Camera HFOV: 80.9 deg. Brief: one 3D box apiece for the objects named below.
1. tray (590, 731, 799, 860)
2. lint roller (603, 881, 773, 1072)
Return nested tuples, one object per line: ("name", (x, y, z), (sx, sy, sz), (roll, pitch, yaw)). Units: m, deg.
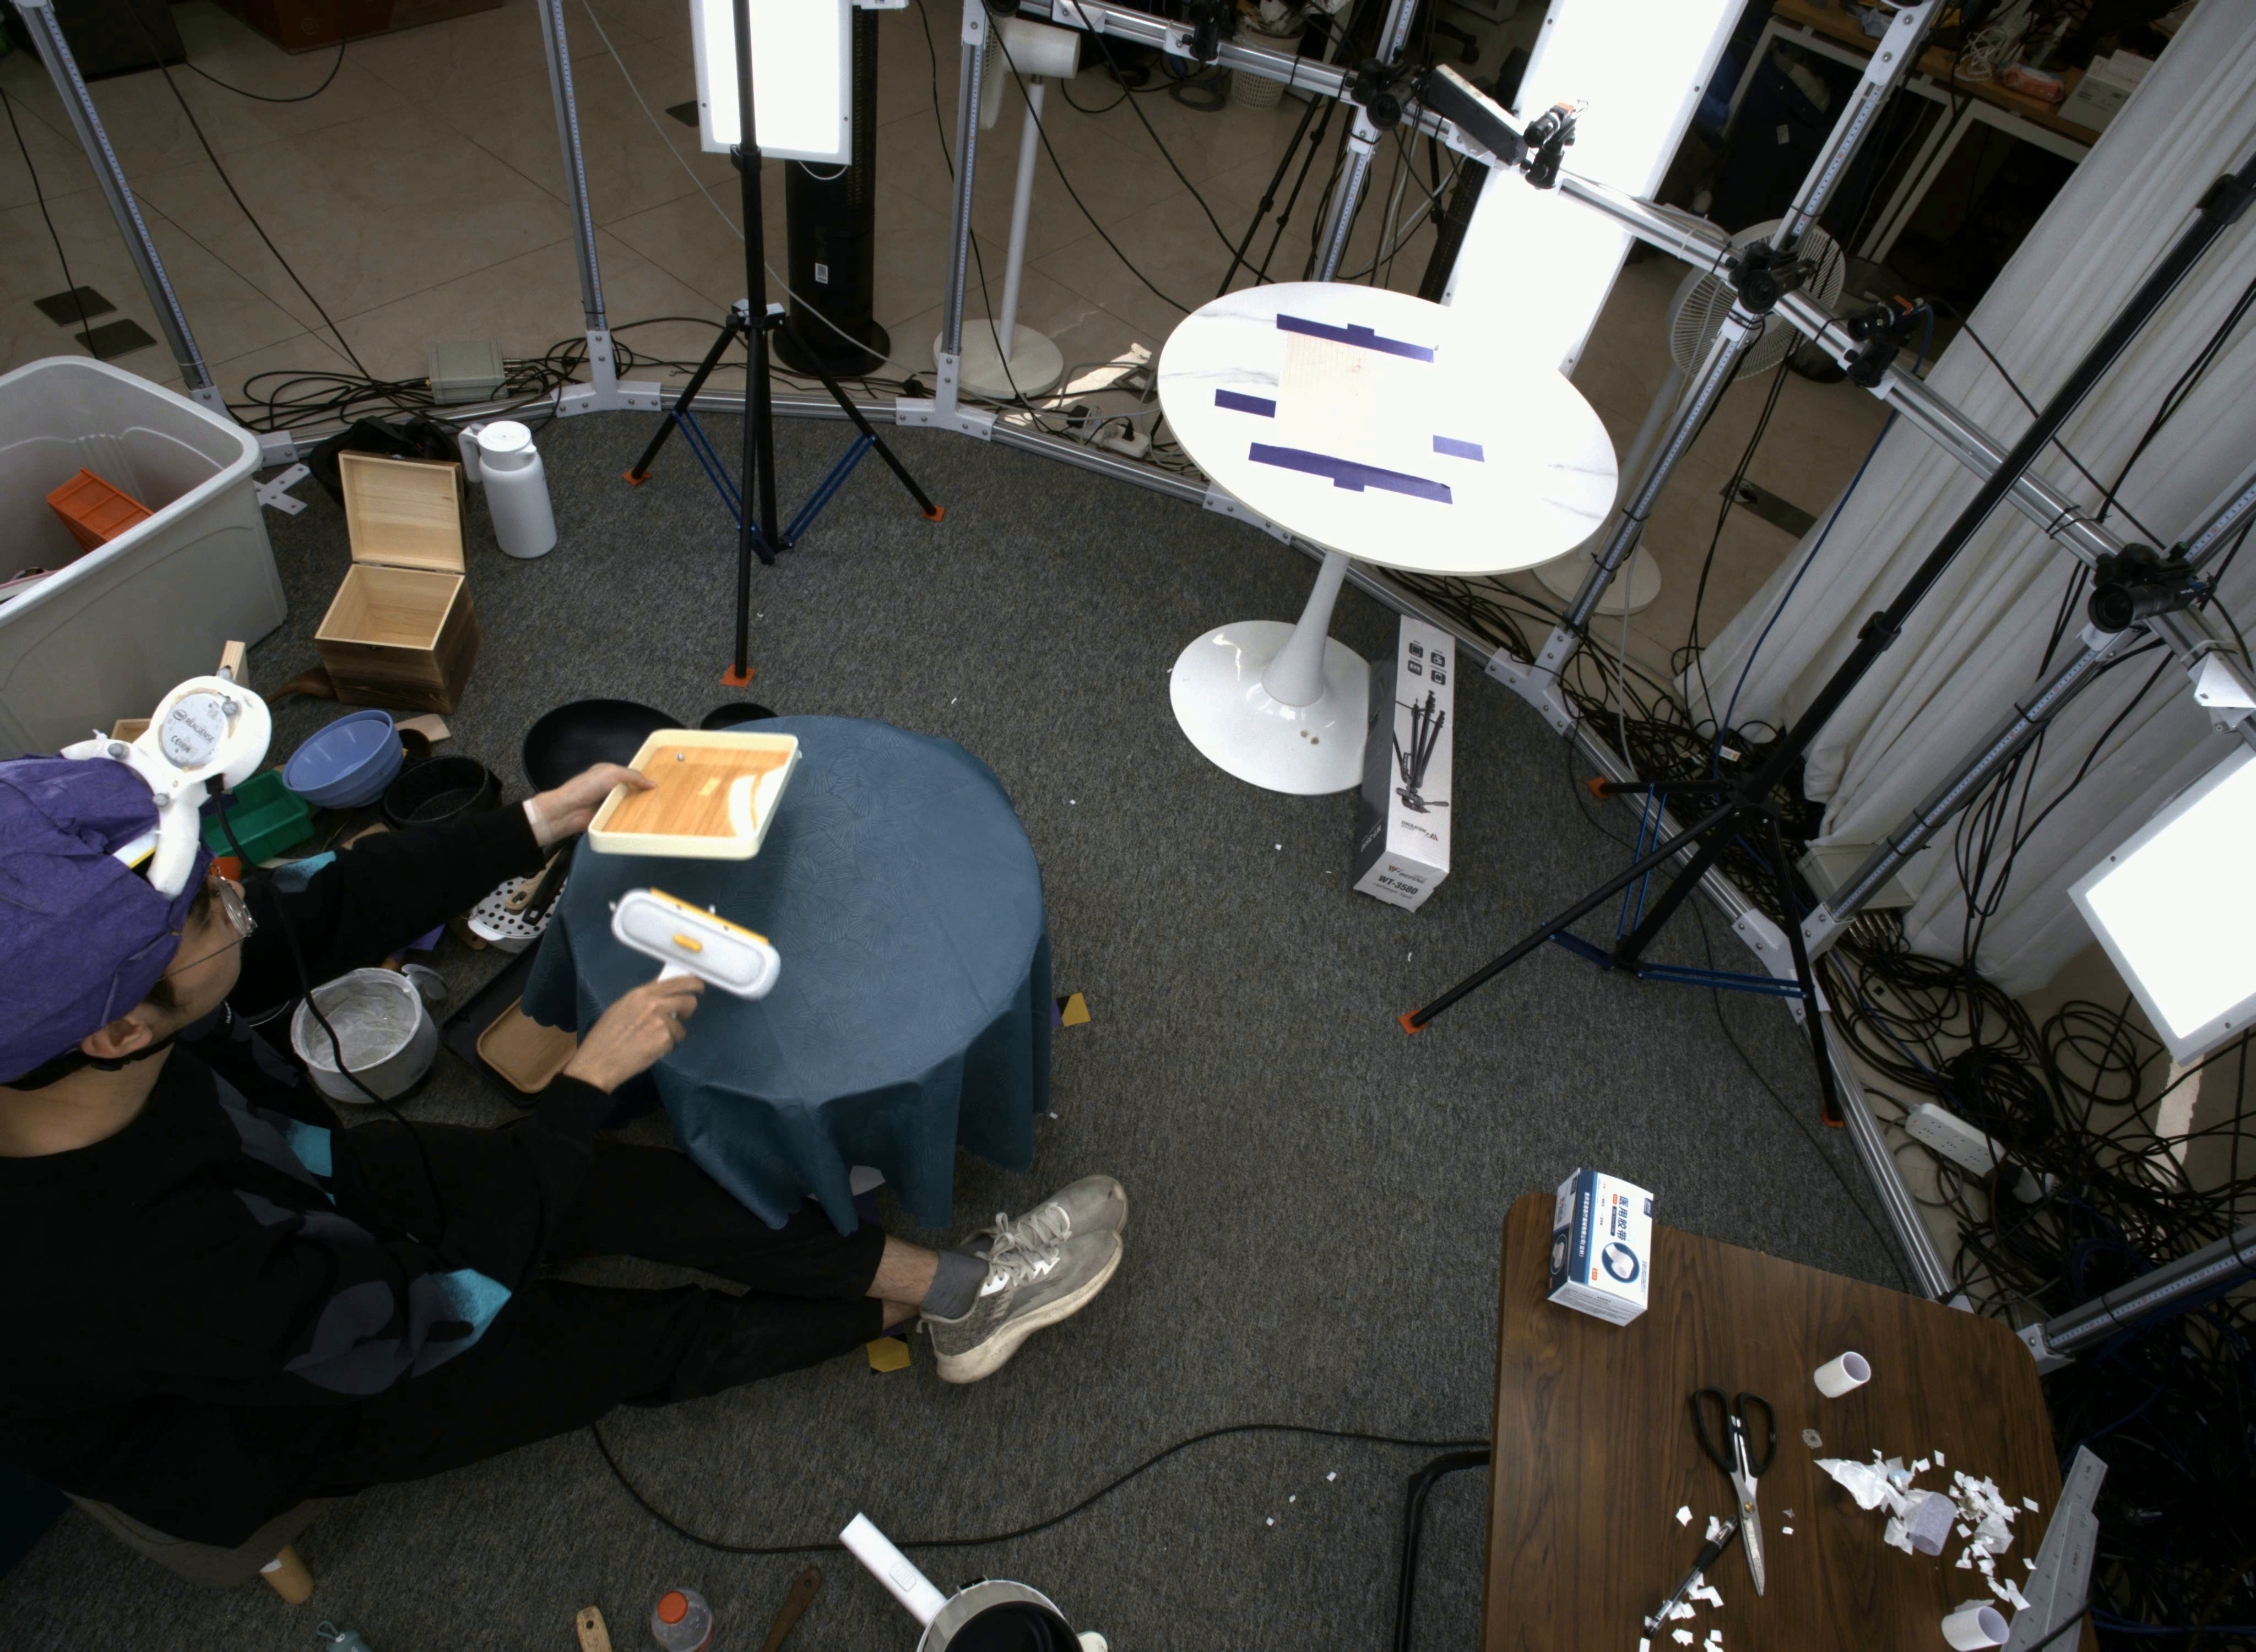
("tray", (-0.516, -0.043, 1.553), (0.190, 0.028, 0.293), (3, 27, -5))
("lint roller", (-0.507, 0.173, 1.413), (0.194, 0.073, 0.192), (23, 75, -13))
